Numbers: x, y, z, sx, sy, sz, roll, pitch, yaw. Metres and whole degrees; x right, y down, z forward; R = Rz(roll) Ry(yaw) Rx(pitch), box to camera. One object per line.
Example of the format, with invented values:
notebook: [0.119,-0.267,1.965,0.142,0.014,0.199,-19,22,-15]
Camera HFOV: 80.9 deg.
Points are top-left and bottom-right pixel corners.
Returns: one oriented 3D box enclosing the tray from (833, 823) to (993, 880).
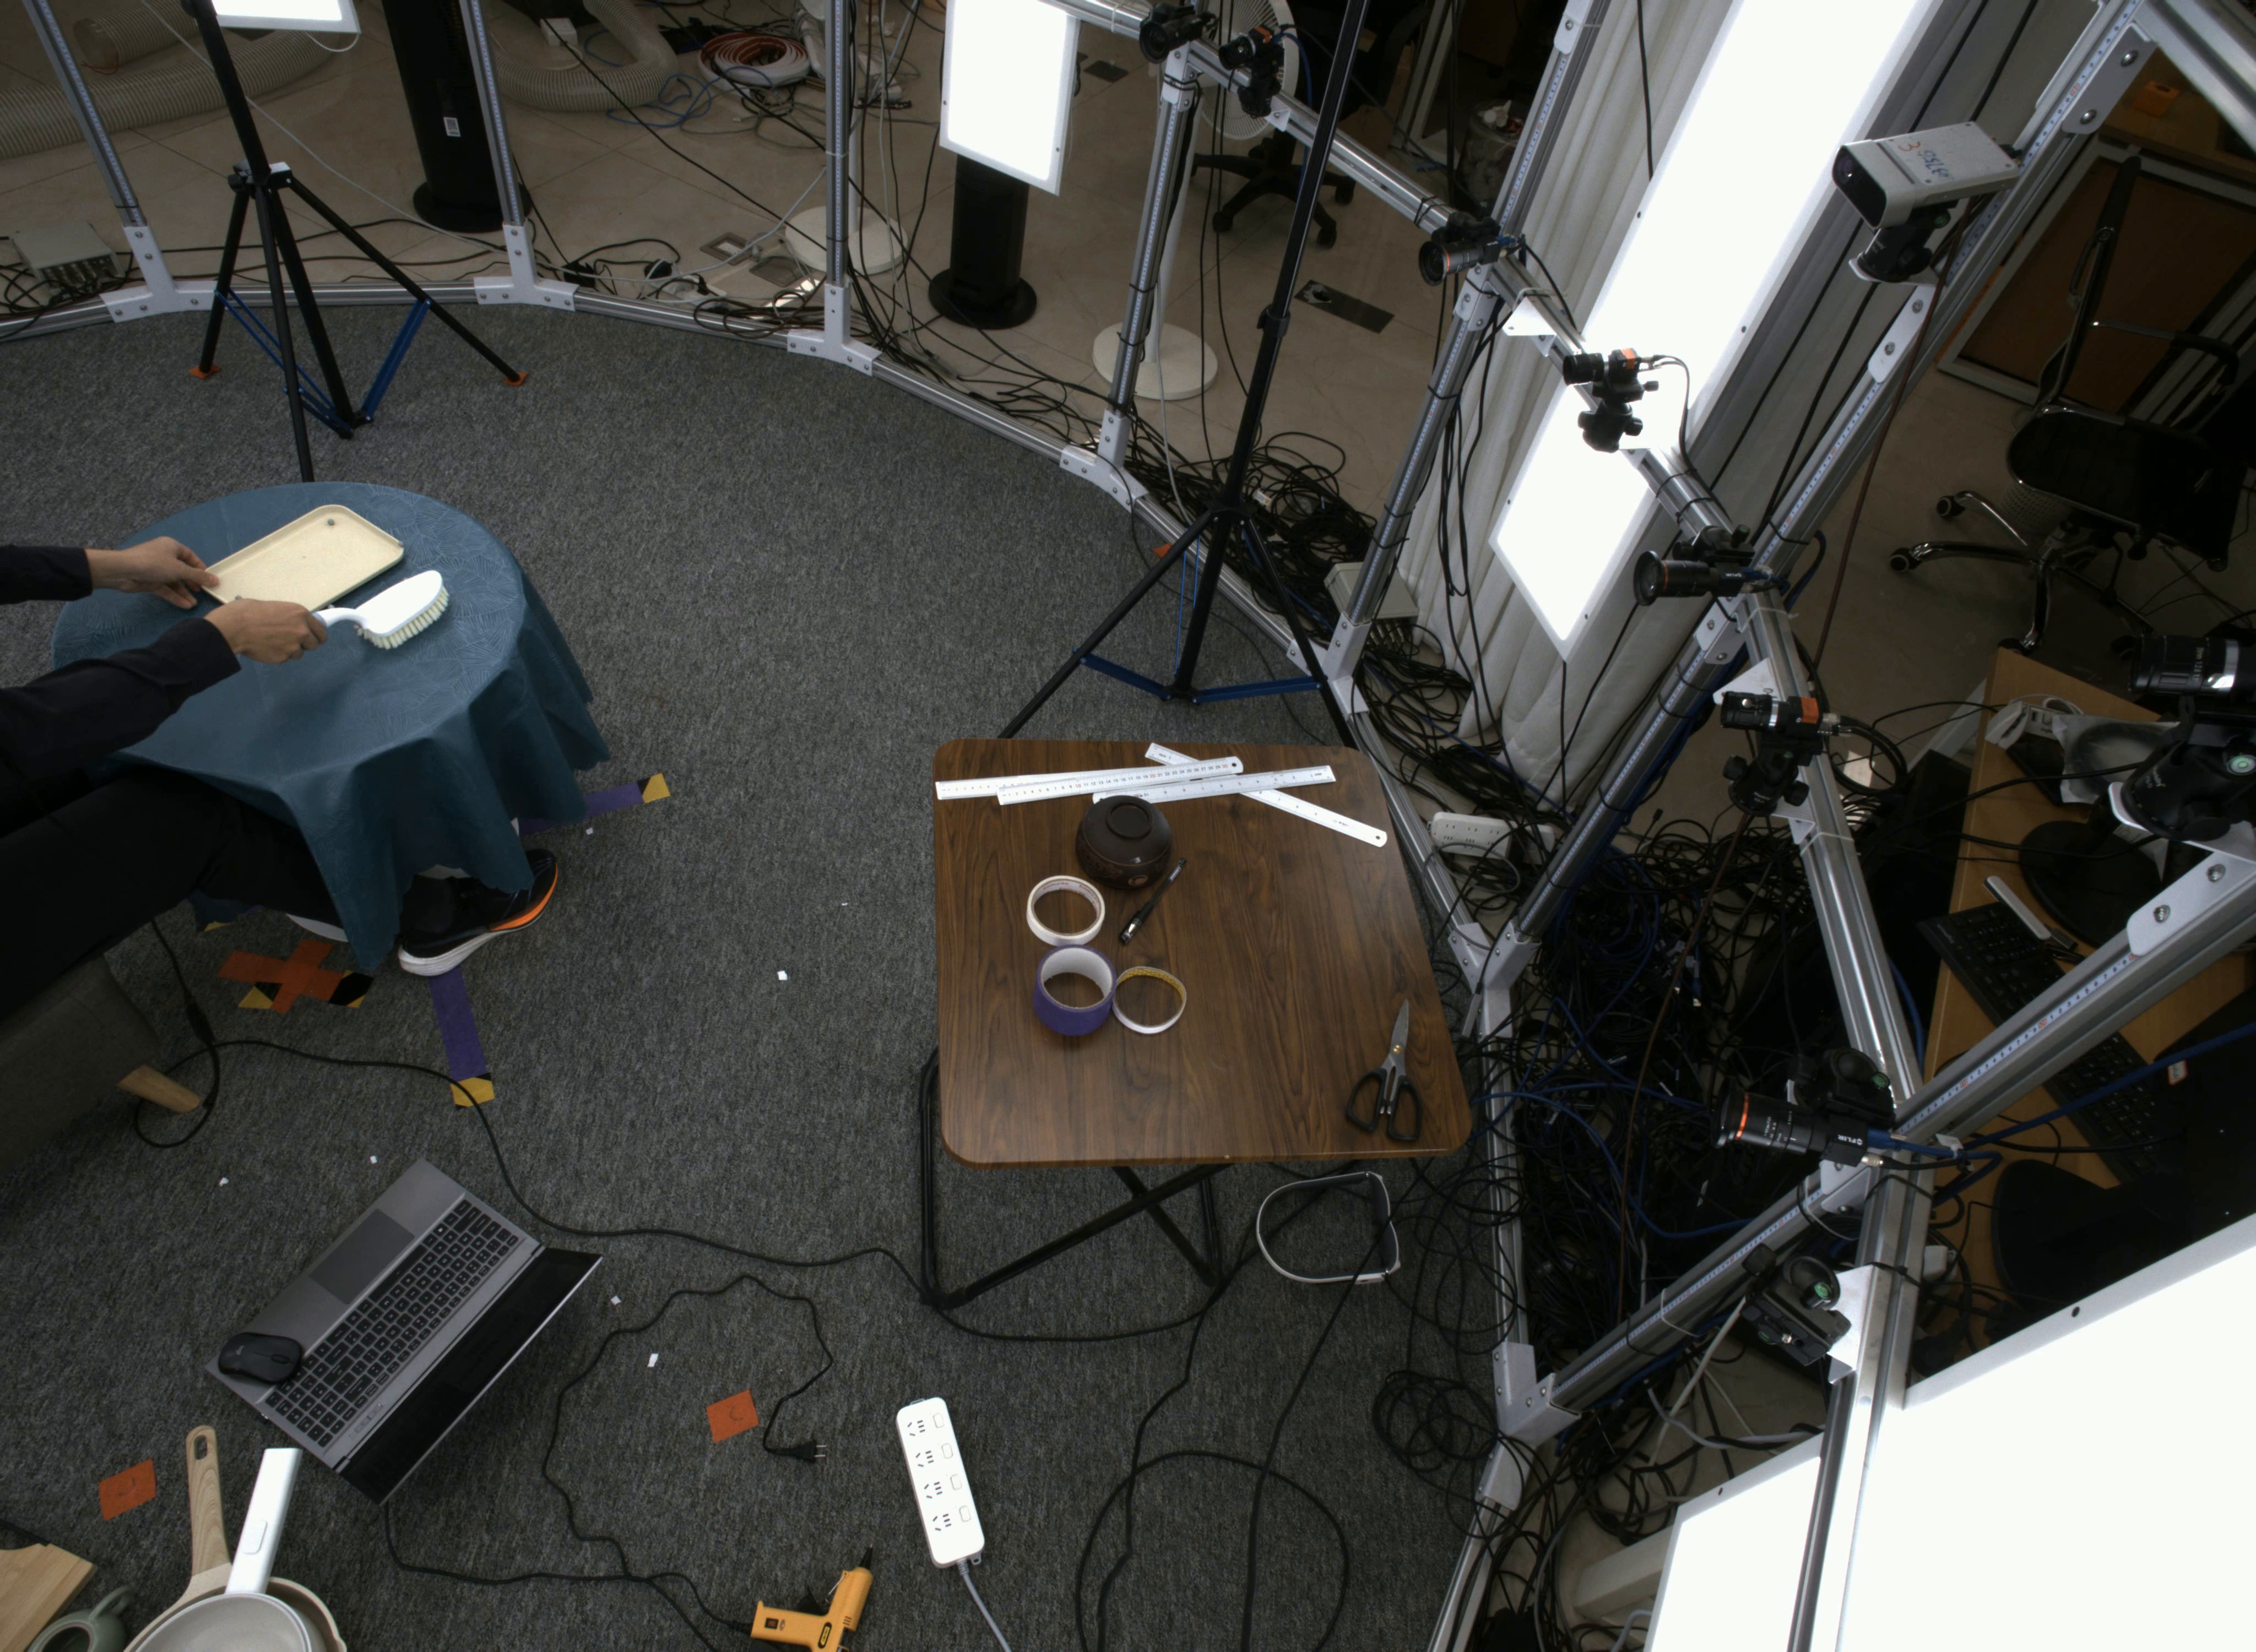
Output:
tray: [-0.354,0.040,2.141,0.242,0.018,0.165,-5,26,-28]

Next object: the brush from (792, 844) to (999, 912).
brush: [-0.348,0.085,1.958,0.330,0.084,0.082,6,-15,-29]
